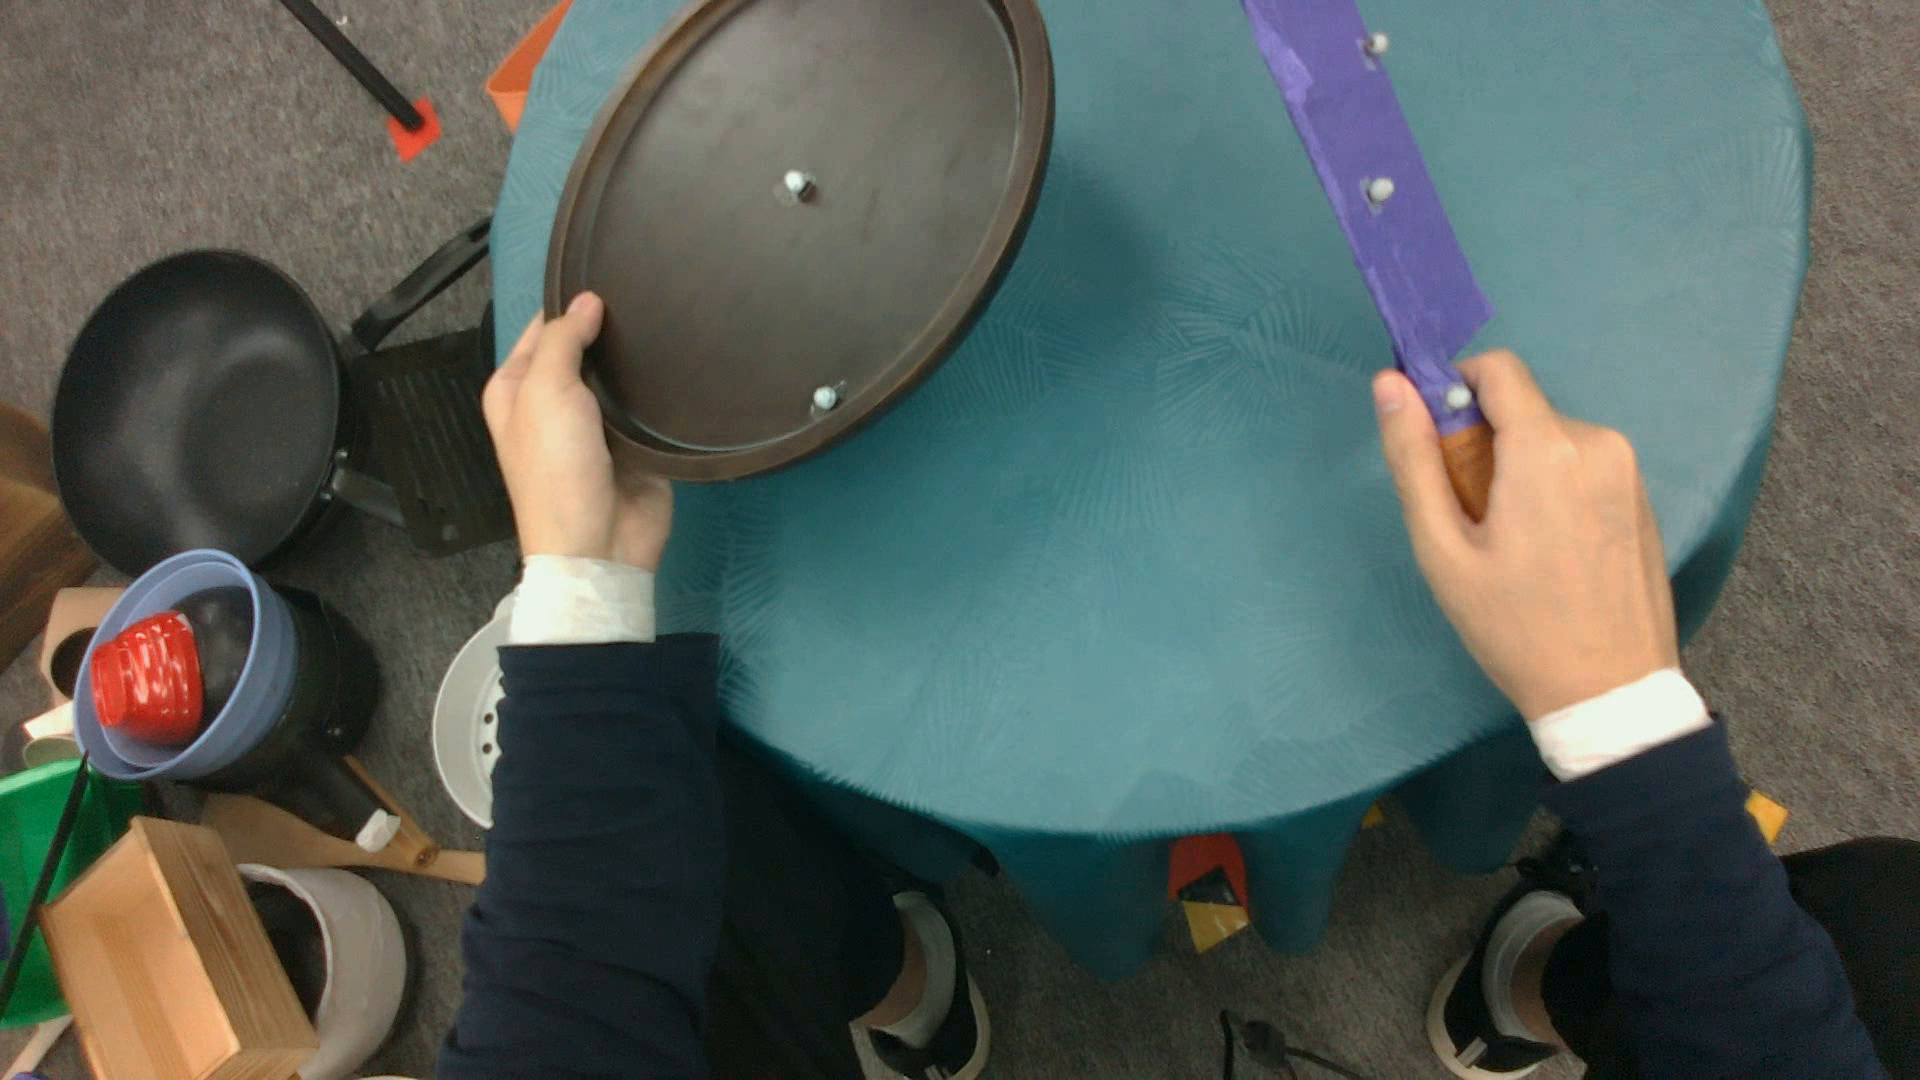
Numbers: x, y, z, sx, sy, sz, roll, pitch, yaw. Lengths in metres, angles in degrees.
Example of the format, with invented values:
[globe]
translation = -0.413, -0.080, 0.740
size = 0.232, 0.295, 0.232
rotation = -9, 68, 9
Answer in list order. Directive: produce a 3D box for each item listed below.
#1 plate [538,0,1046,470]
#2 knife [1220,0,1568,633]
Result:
[plate]
translation = -0.075, -0.146, 0.552
size = 0.254, 0.029, 0.255
rotation = -13, 65, 29
[knife]
translation = 0.156, -0.120, 0.502
size = 0.032, 0.104, 0.315
rotation = -17, 107, 42
